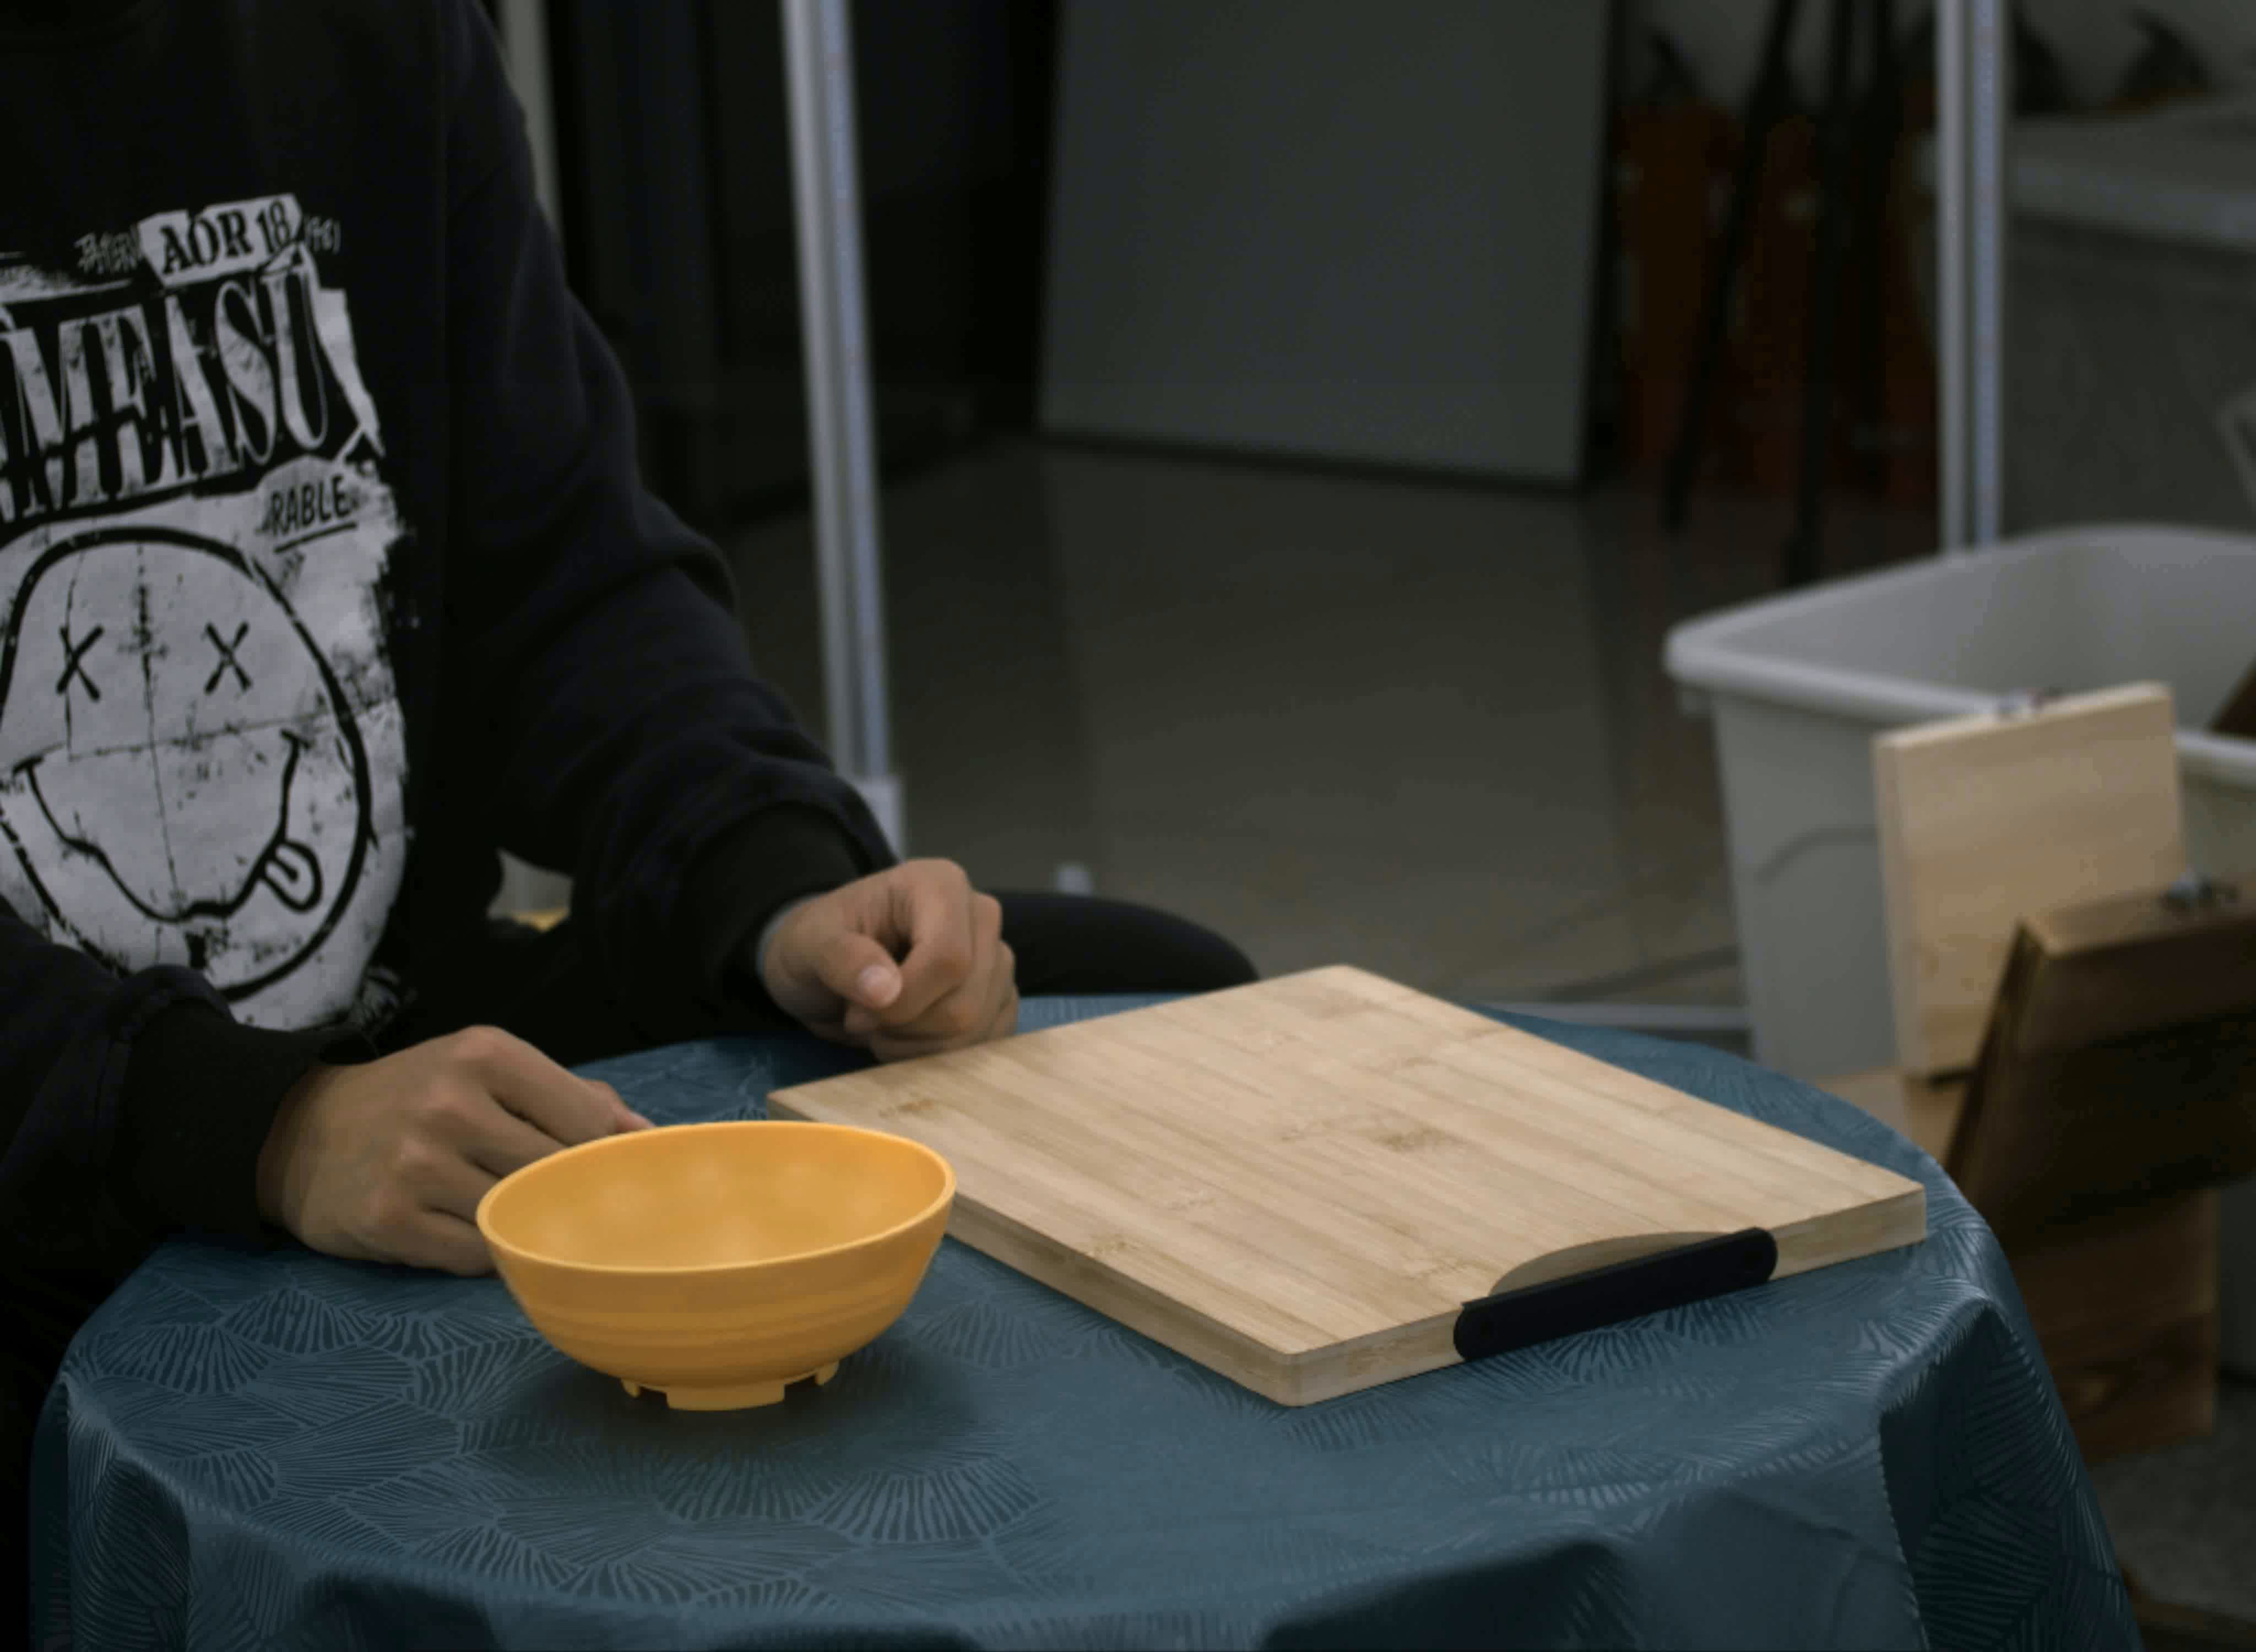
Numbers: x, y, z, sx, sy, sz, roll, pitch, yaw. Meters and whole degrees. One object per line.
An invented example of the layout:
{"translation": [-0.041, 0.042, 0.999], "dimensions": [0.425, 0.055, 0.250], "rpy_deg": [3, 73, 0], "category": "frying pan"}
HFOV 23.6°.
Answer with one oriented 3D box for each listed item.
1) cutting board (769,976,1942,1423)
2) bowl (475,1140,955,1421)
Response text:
{"translation": [0.065, 0.113, 1.752], "dimensions": [0.245, 0.024, 0.352], "rpy_deg": [-12, 16, -29], "category": "cutting board"}
{"translation": [-0.122, 0.140, 1.616], "dimensions": [0.143, 0.061, 0.145], "rpy_deg": [-2, 11, 0], "category": "bowl"}
